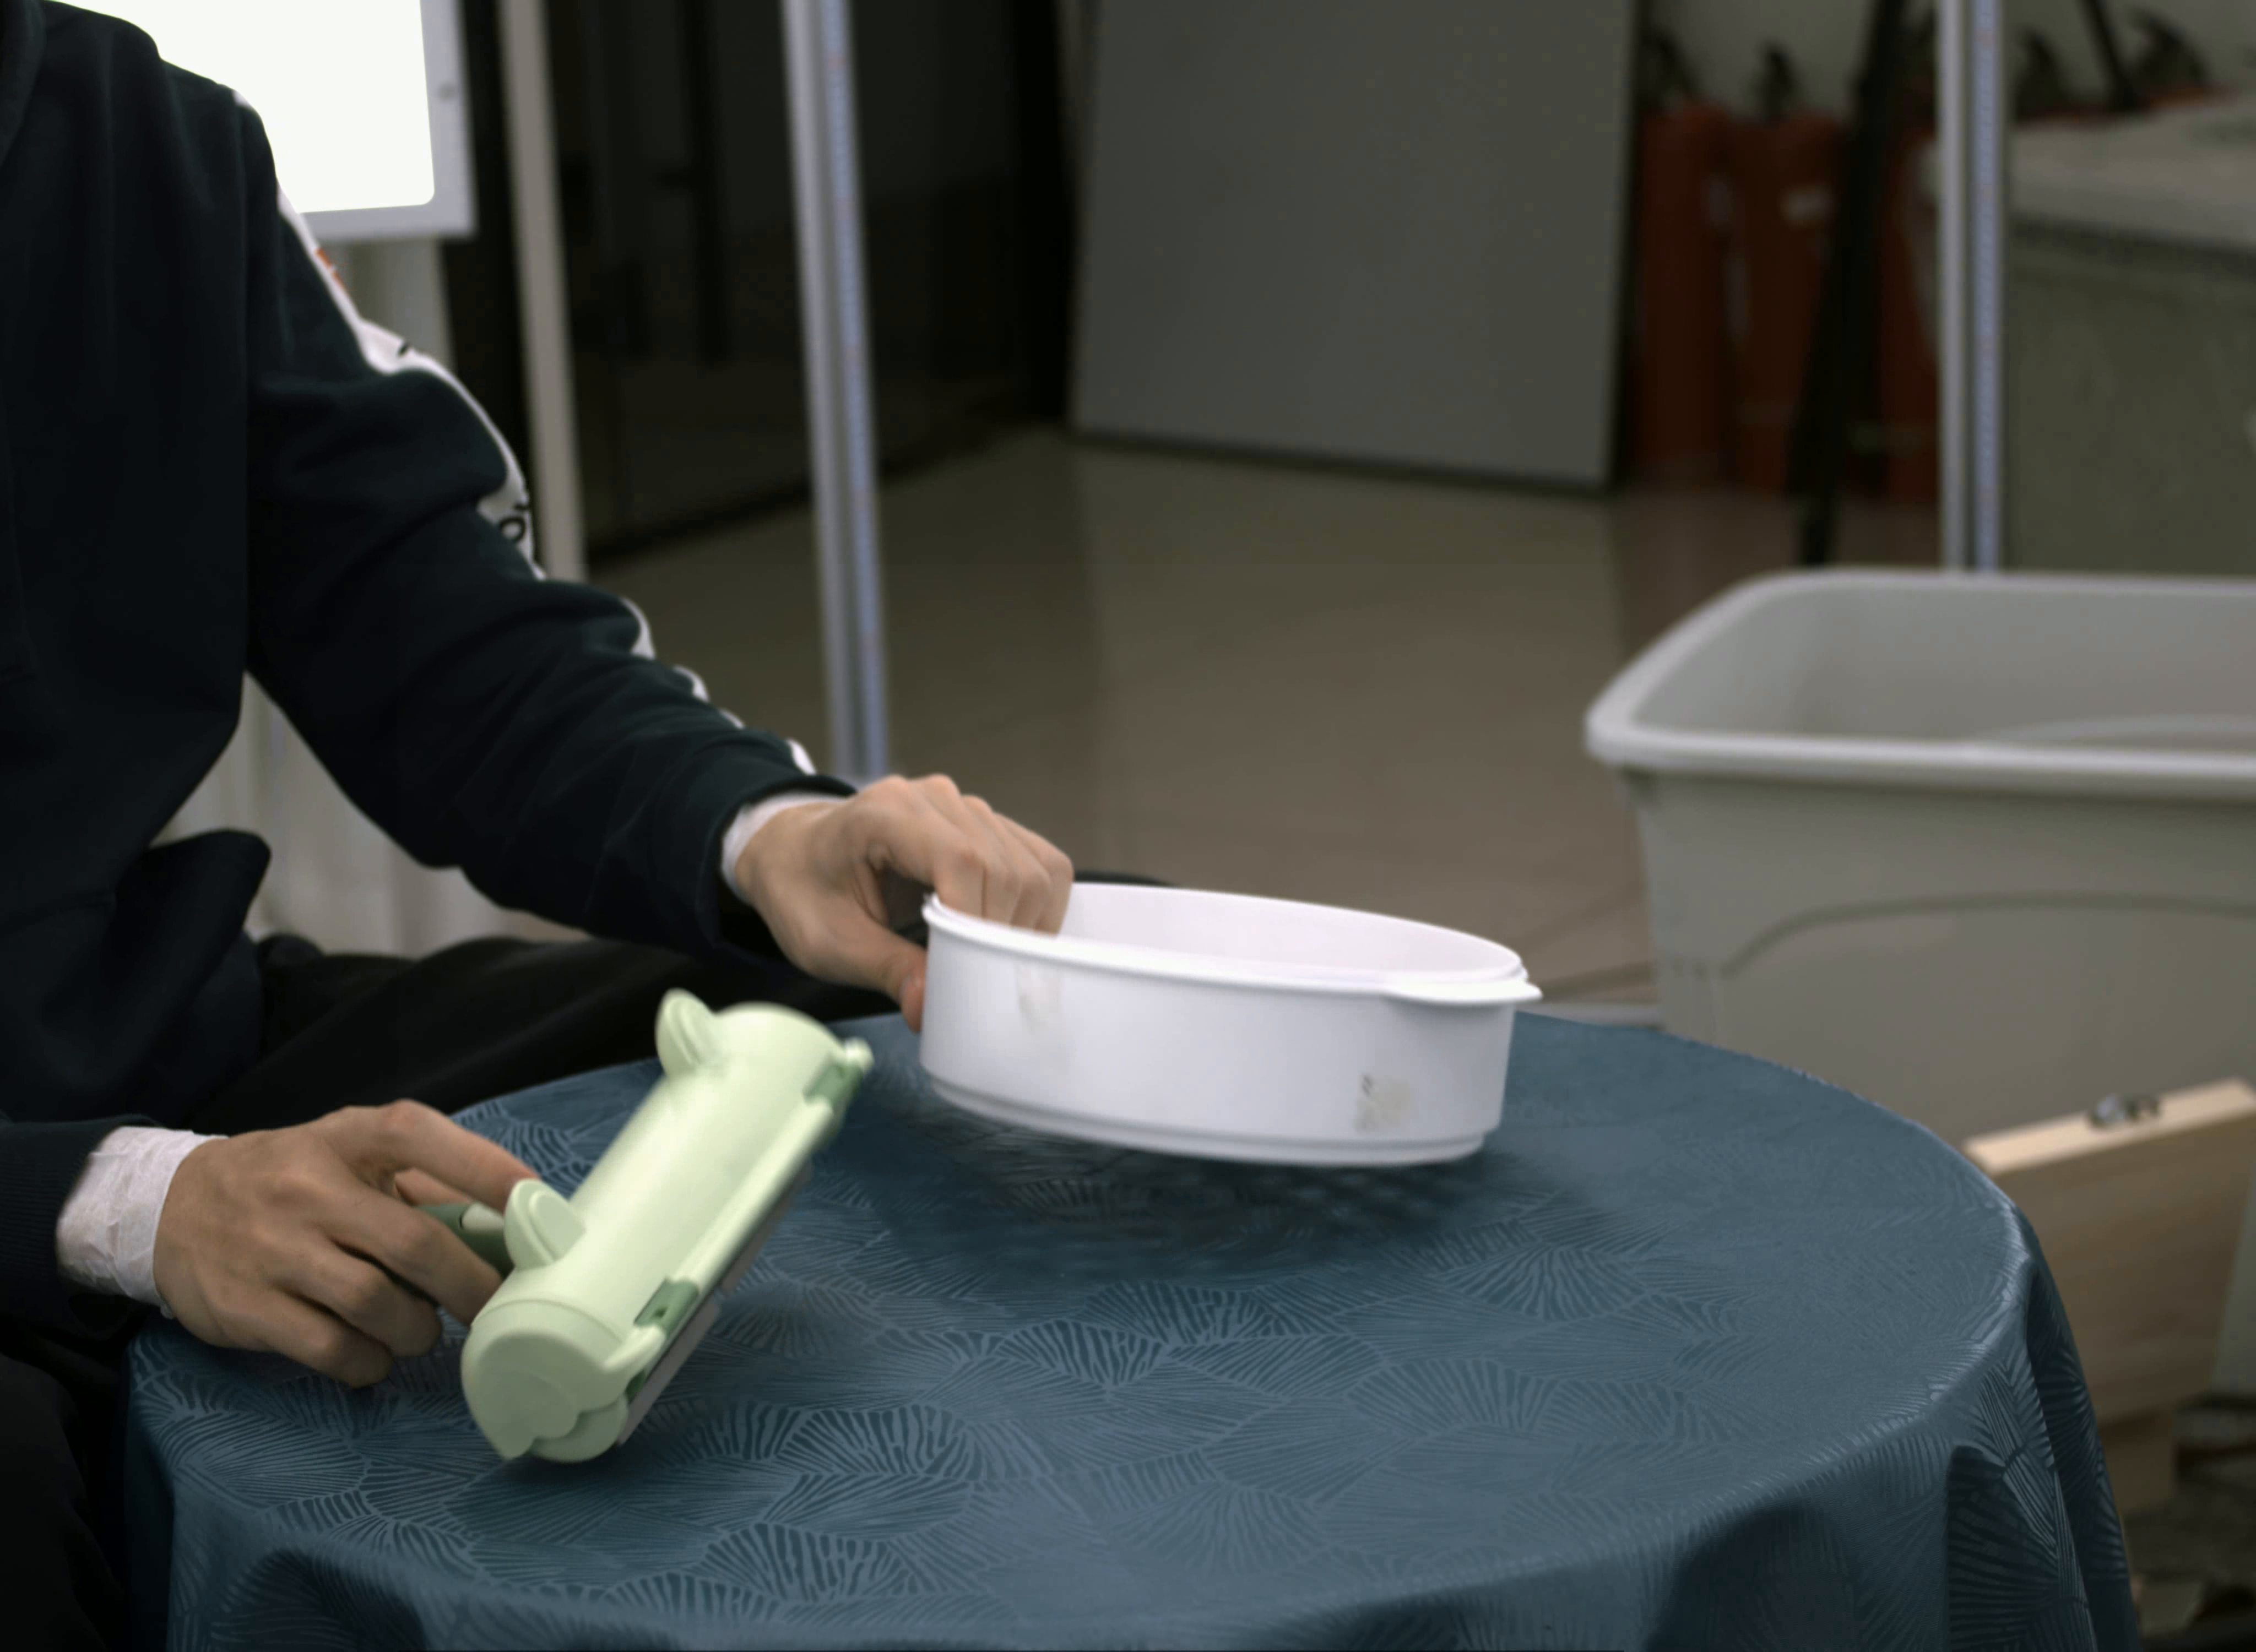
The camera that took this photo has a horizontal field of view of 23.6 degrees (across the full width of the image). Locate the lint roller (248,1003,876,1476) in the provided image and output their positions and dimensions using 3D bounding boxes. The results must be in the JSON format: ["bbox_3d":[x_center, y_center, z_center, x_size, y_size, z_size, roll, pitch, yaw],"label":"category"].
[{"bbox_3d":[-0.190,0.116,1.628,0.183,0.083,0.197,0,25,22],"label":"lint roller"}]

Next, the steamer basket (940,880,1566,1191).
[{"bbox_3d":[0.036,0.069,1.765,0.232,0.070,0.198,13,10,37],"label":"steamer basket"}]
